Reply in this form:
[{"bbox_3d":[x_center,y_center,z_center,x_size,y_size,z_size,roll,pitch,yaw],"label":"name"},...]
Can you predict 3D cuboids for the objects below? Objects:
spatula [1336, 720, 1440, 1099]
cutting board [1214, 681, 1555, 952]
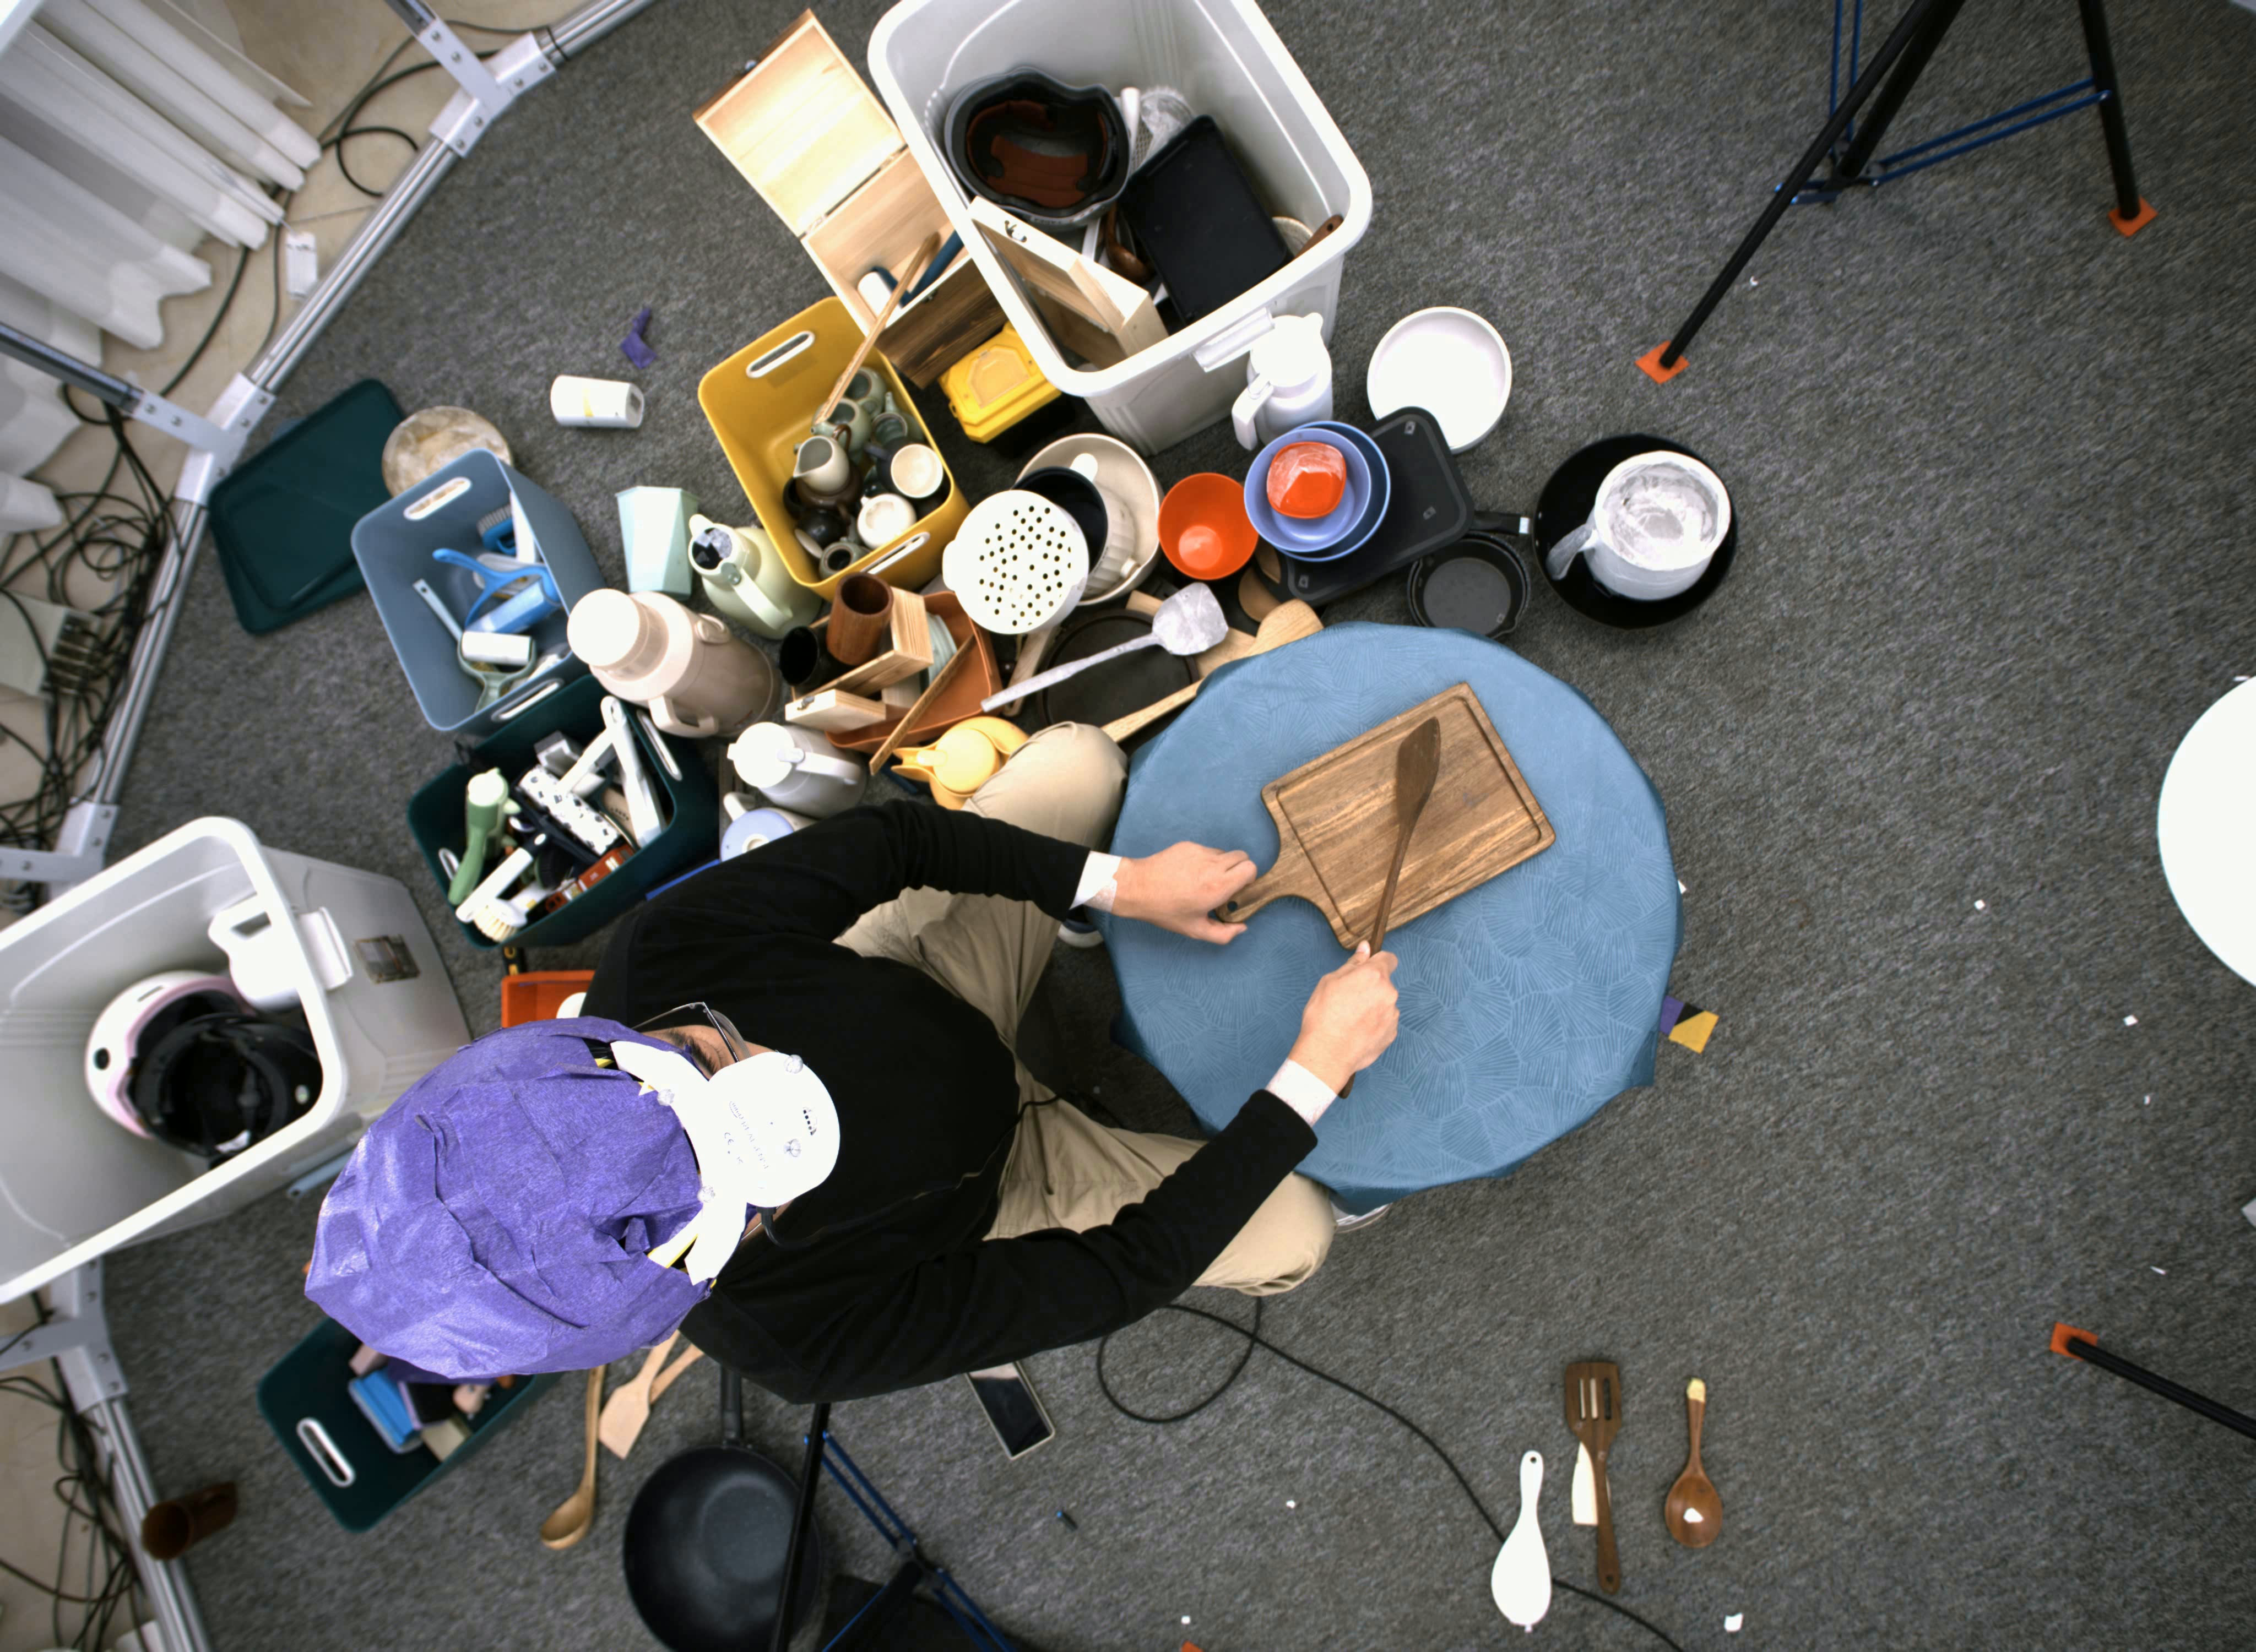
[{"bbox_3d":[0.253,0.077,1.358,0.016,0.097,0.382,17,80,-8],"label":"spatula"},{"bbox_3d":[0.246,0.011,1.445,0.353,0.023,0.200,-29,82,4],"label":"cutting board"}]
